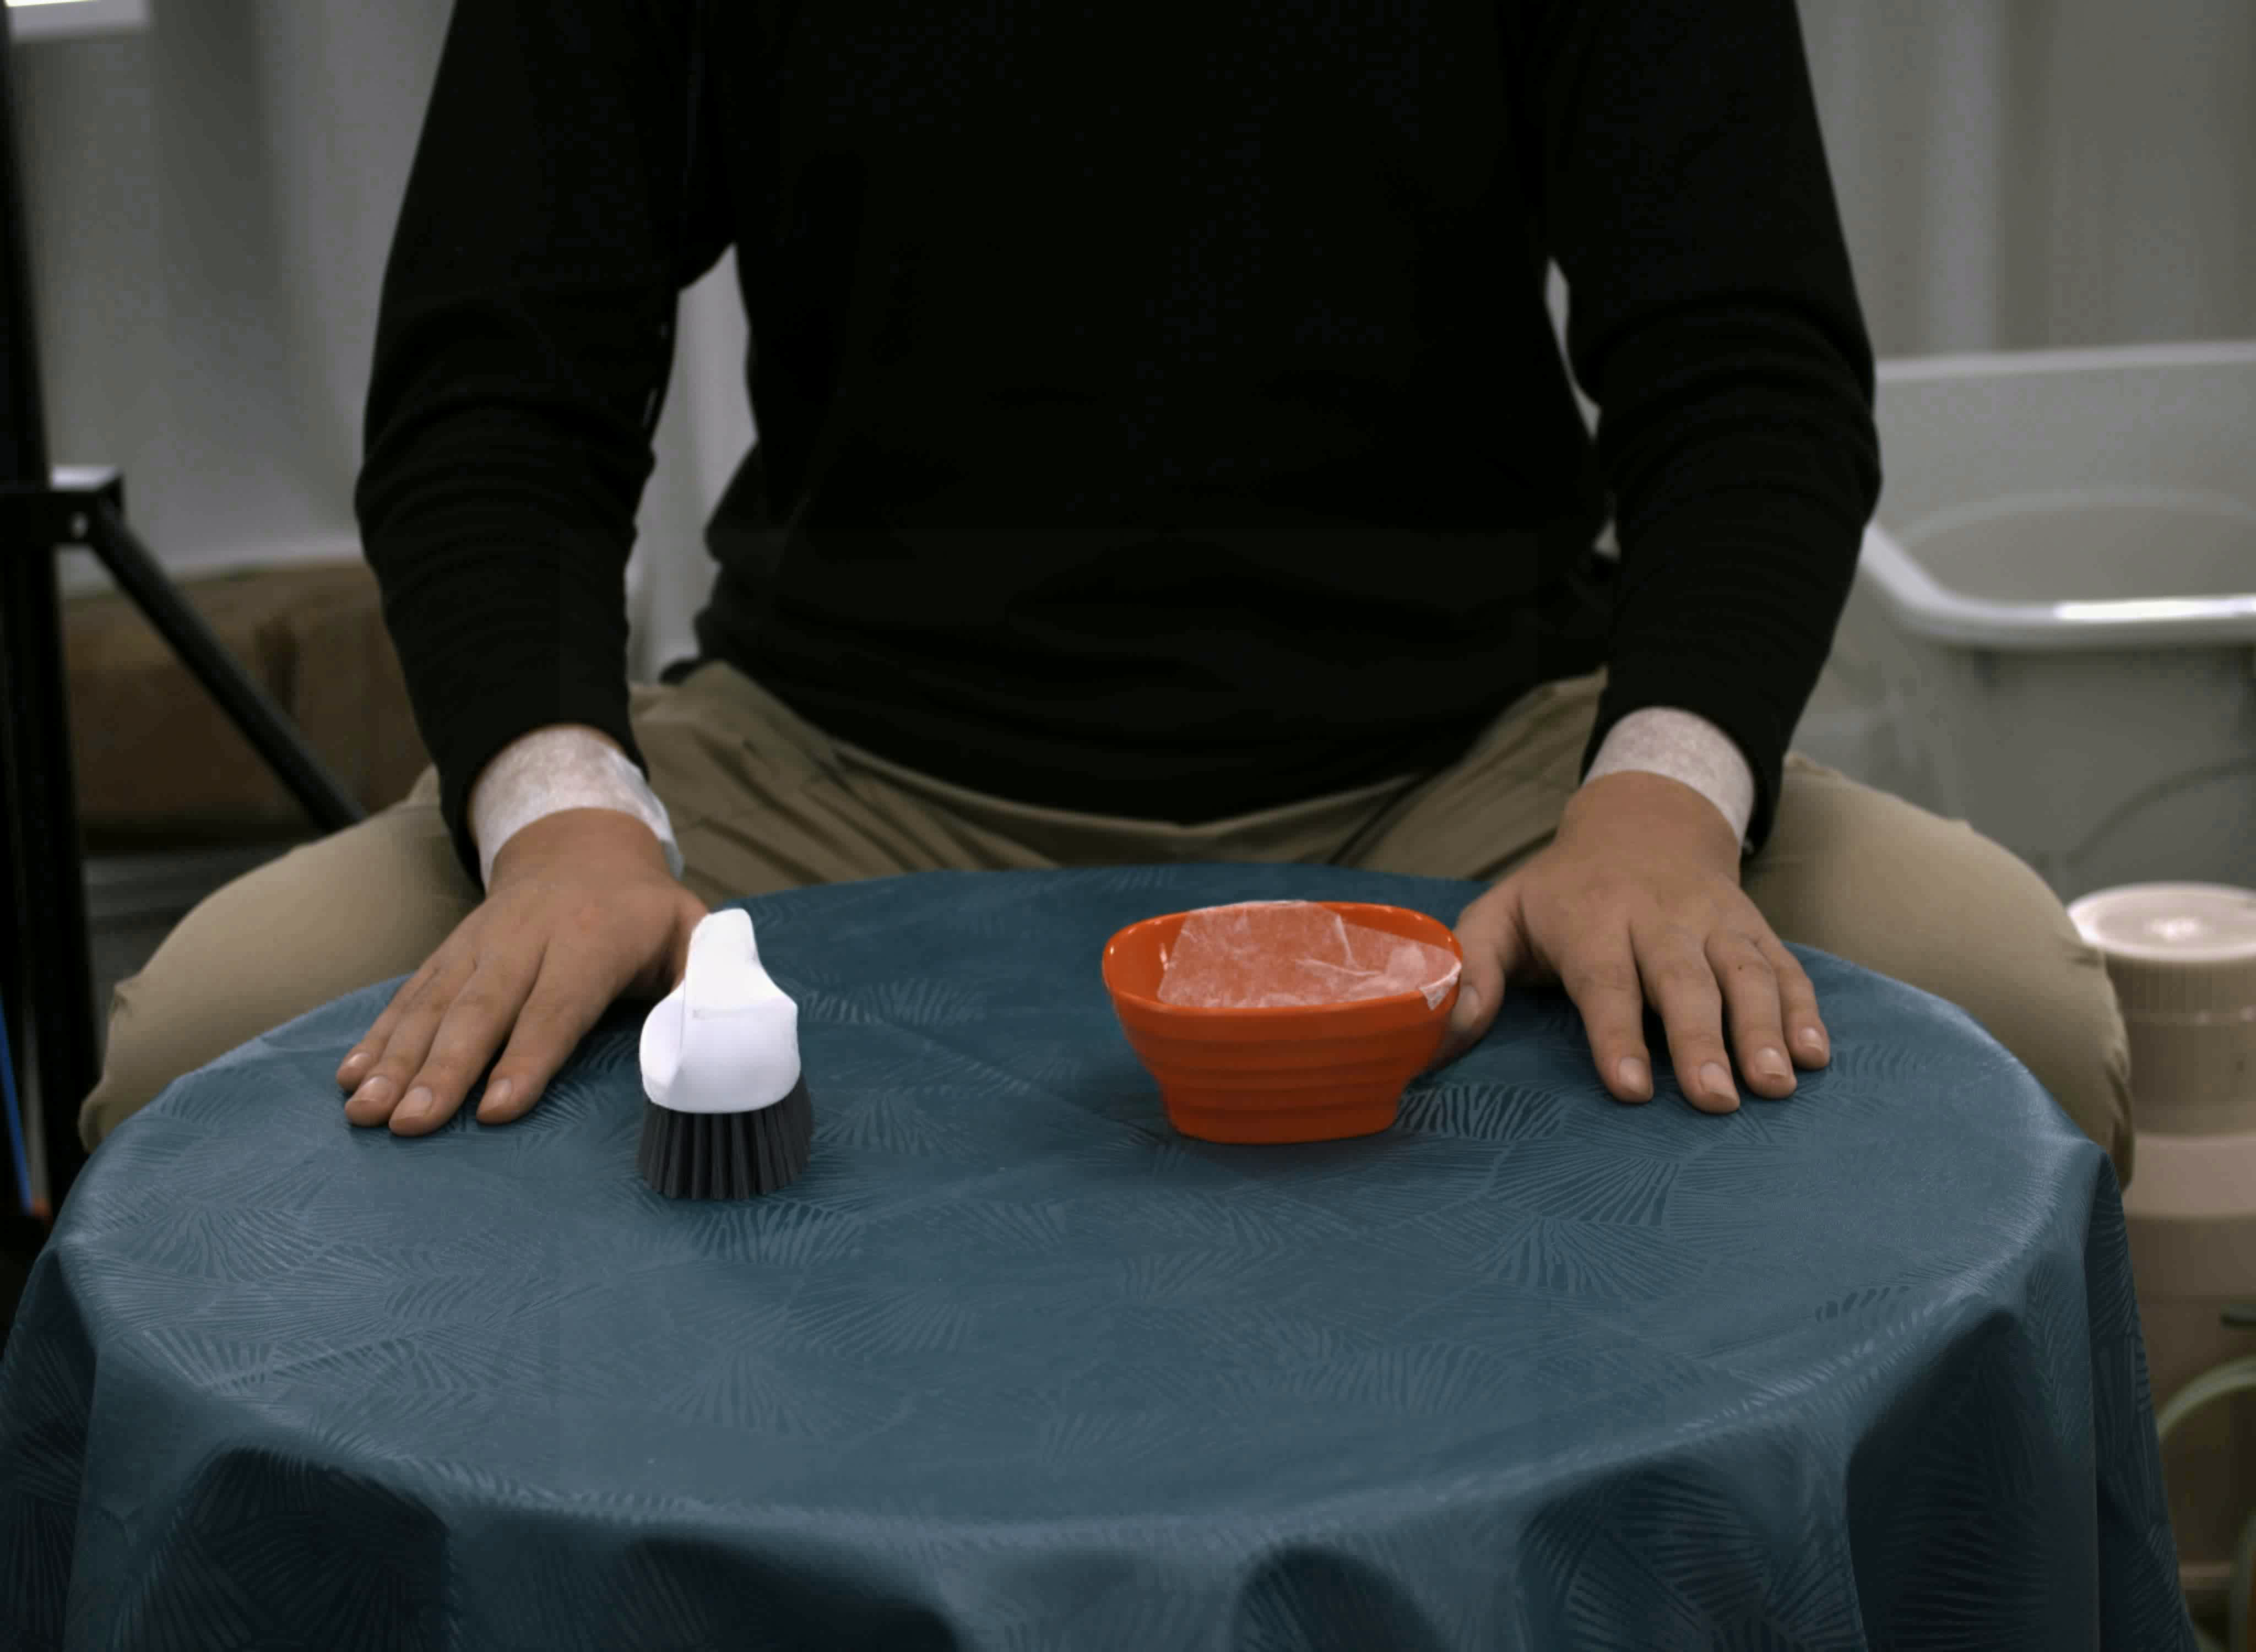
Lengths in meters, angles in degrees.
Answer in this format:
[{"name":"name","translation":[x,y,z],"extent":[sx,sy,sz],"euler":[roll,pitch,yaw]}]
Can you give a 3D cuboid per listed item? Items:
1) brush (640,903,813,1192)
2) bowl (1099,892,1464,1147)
[{"name":"brush","translation":[-0.122,0.062,1.606],"extent":[0.050,0.072,0.099],"euler":[-2,15,2]},{"name":"bowl","translation":[0.048,0.062,1.617],"extent":[0.118,0.051,0.119],"euler":[-4,18,0]}]
